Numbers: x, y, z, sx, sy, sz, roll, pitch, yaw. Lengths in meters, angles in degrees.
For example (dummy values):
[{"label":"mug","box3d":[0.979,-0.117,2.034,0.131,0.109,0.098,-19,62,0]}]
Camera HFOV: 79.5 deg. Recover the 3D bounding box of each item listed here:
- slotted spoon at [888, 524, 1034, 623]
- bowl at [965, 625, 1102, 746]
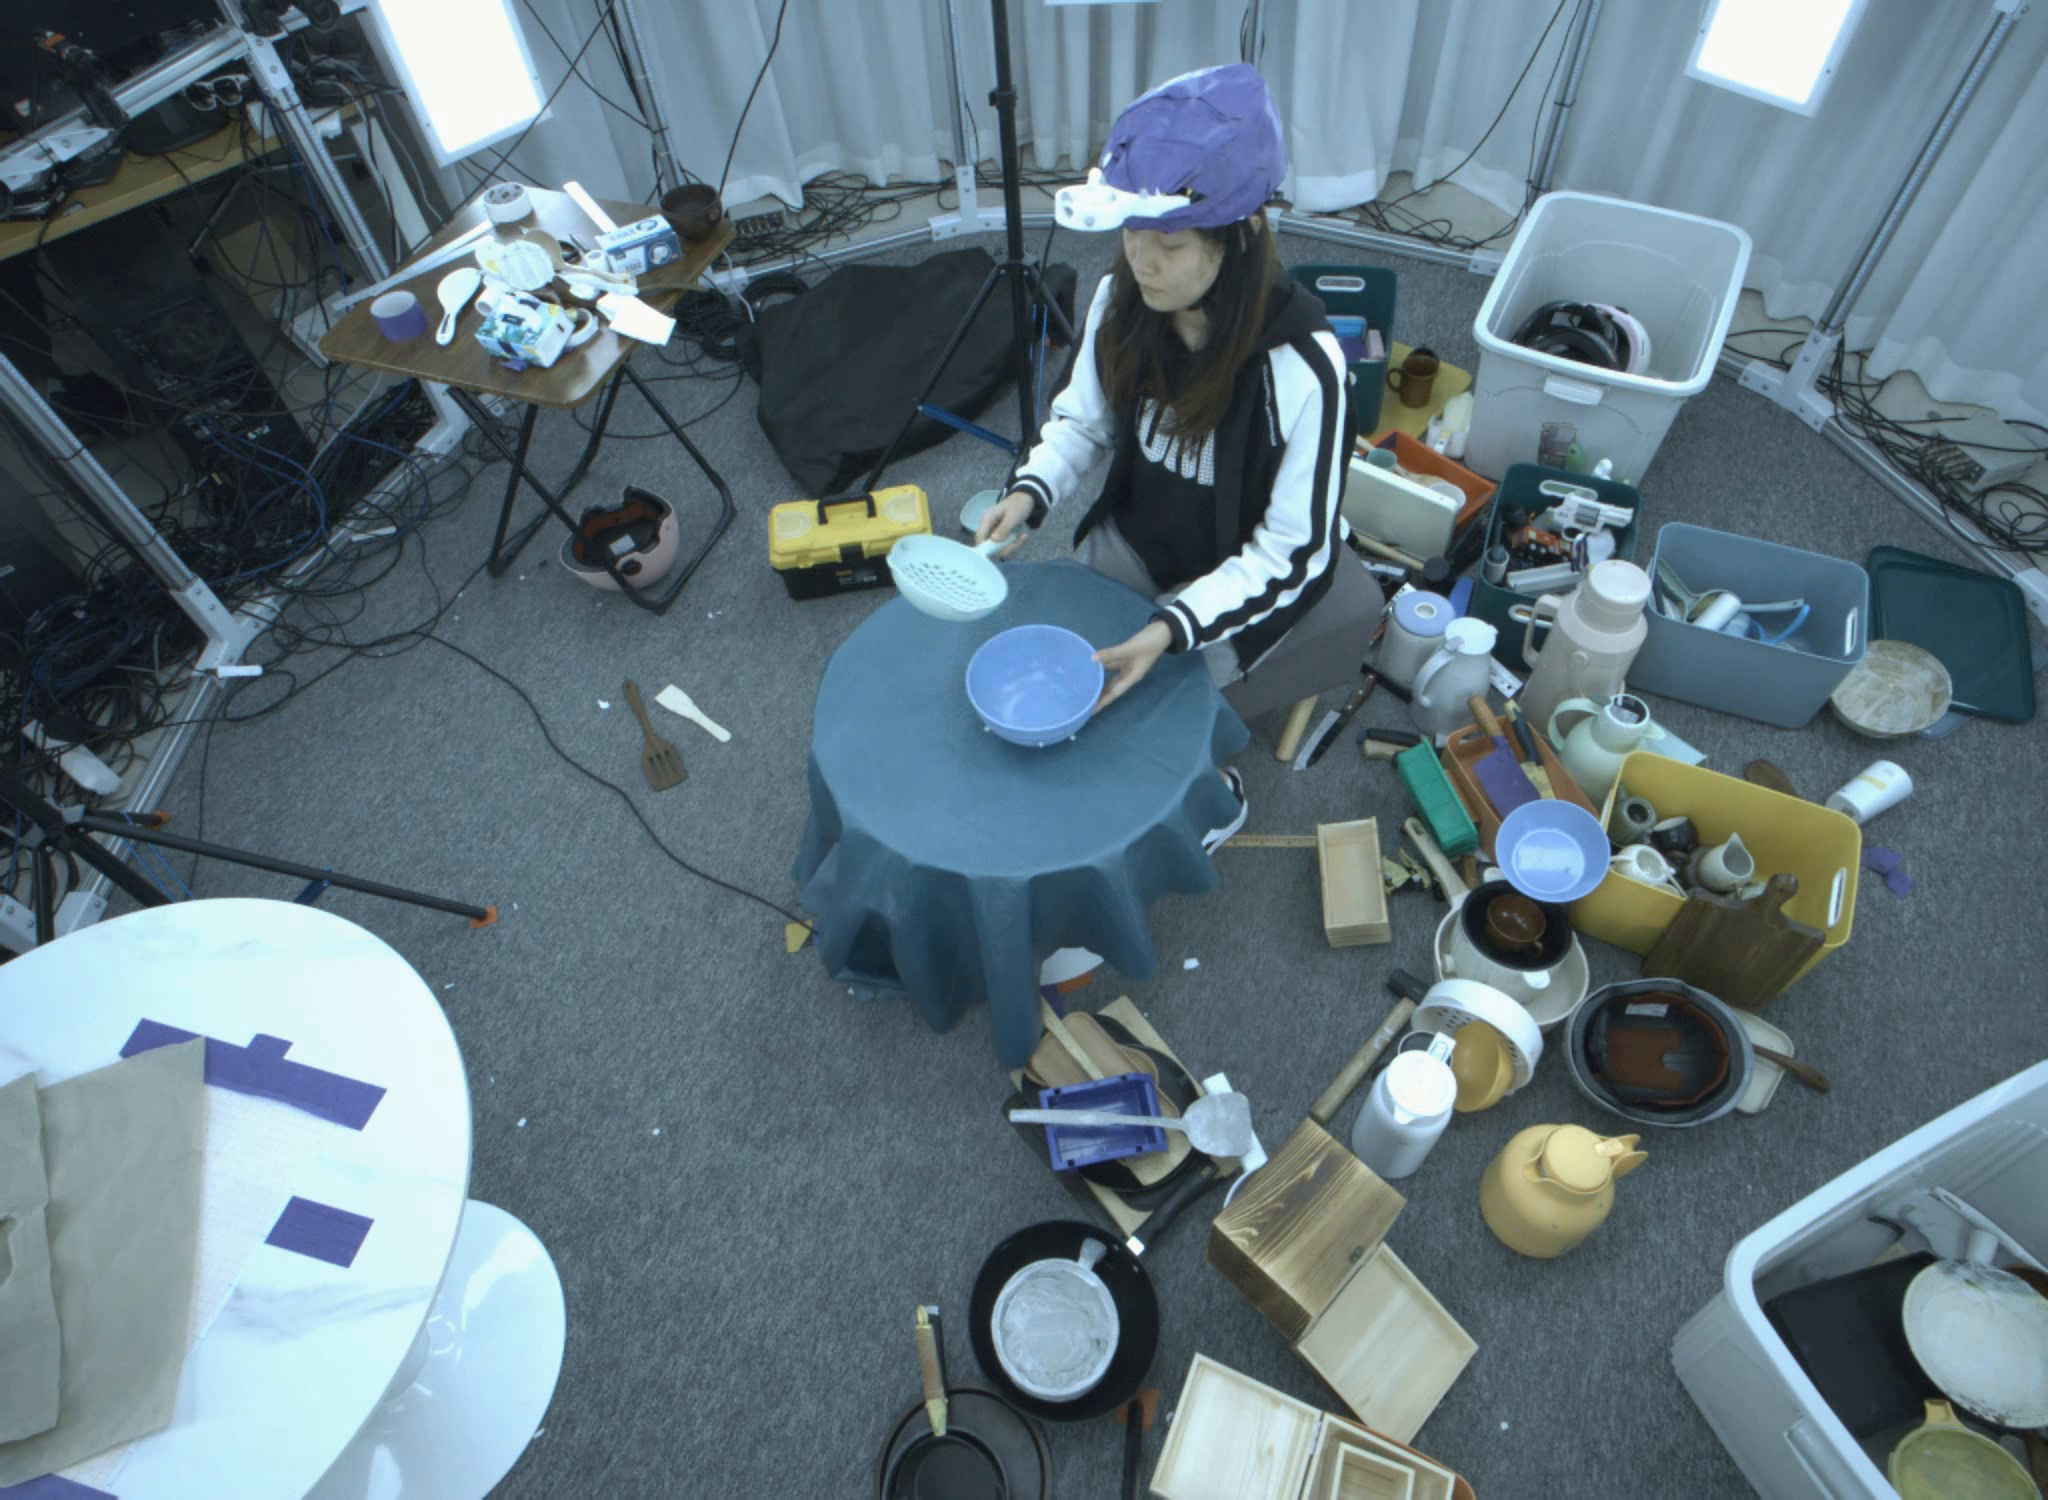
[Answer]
[{"label":"slotted spoon","box3d":[-0.064,-0.274,1.770,0.168,0.075,0.361,32,42,8]},{"label":"bowl","box3d":[0.016,-0.078,1.784,0.196,0.096,0.194,-1,54,2]}]
